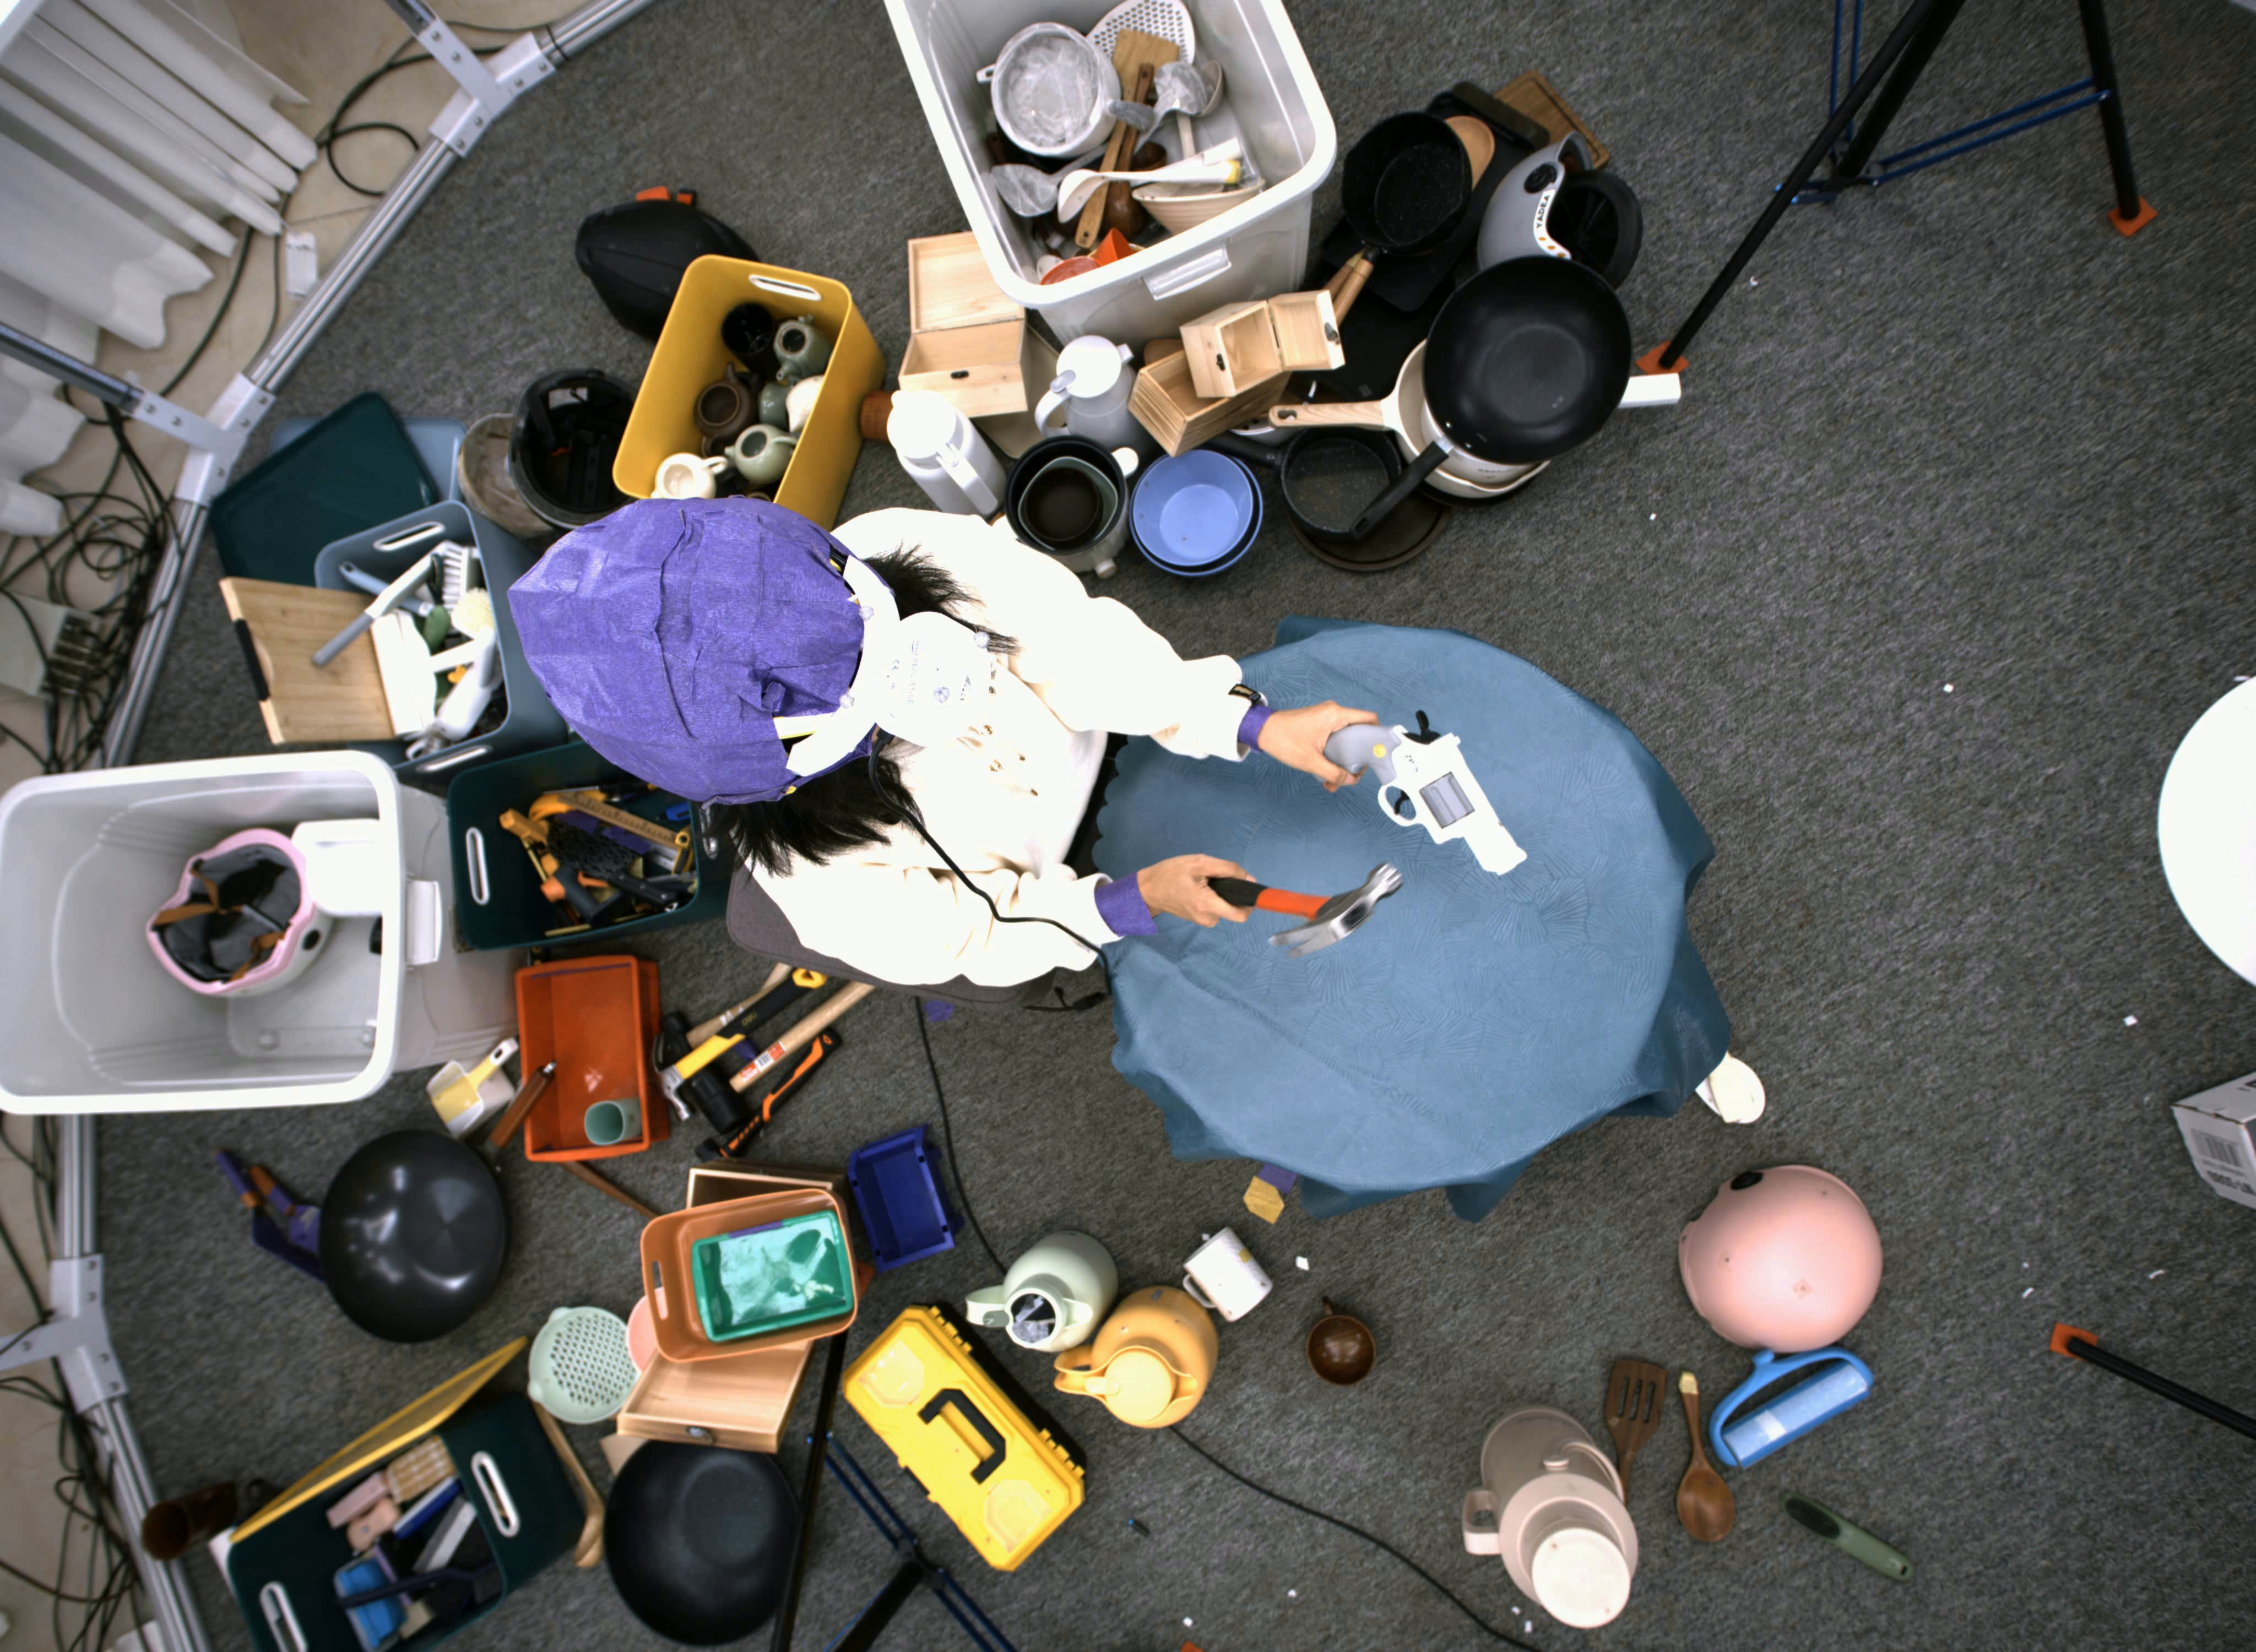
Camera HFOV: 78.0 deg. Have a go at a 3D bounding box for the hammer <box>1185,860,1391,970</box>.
[{"bbox_3d":[0.119,0.064,1.224,0.109,0.277,0.026,-47,109,-13],"label":"hammer"}]

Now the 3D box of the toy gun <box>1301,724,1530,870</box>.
[{"bbox_3d":[0.267,-0.029,1.301,0.144,0.038,0.208,-36,85,37],"label":"toy gun"}]
